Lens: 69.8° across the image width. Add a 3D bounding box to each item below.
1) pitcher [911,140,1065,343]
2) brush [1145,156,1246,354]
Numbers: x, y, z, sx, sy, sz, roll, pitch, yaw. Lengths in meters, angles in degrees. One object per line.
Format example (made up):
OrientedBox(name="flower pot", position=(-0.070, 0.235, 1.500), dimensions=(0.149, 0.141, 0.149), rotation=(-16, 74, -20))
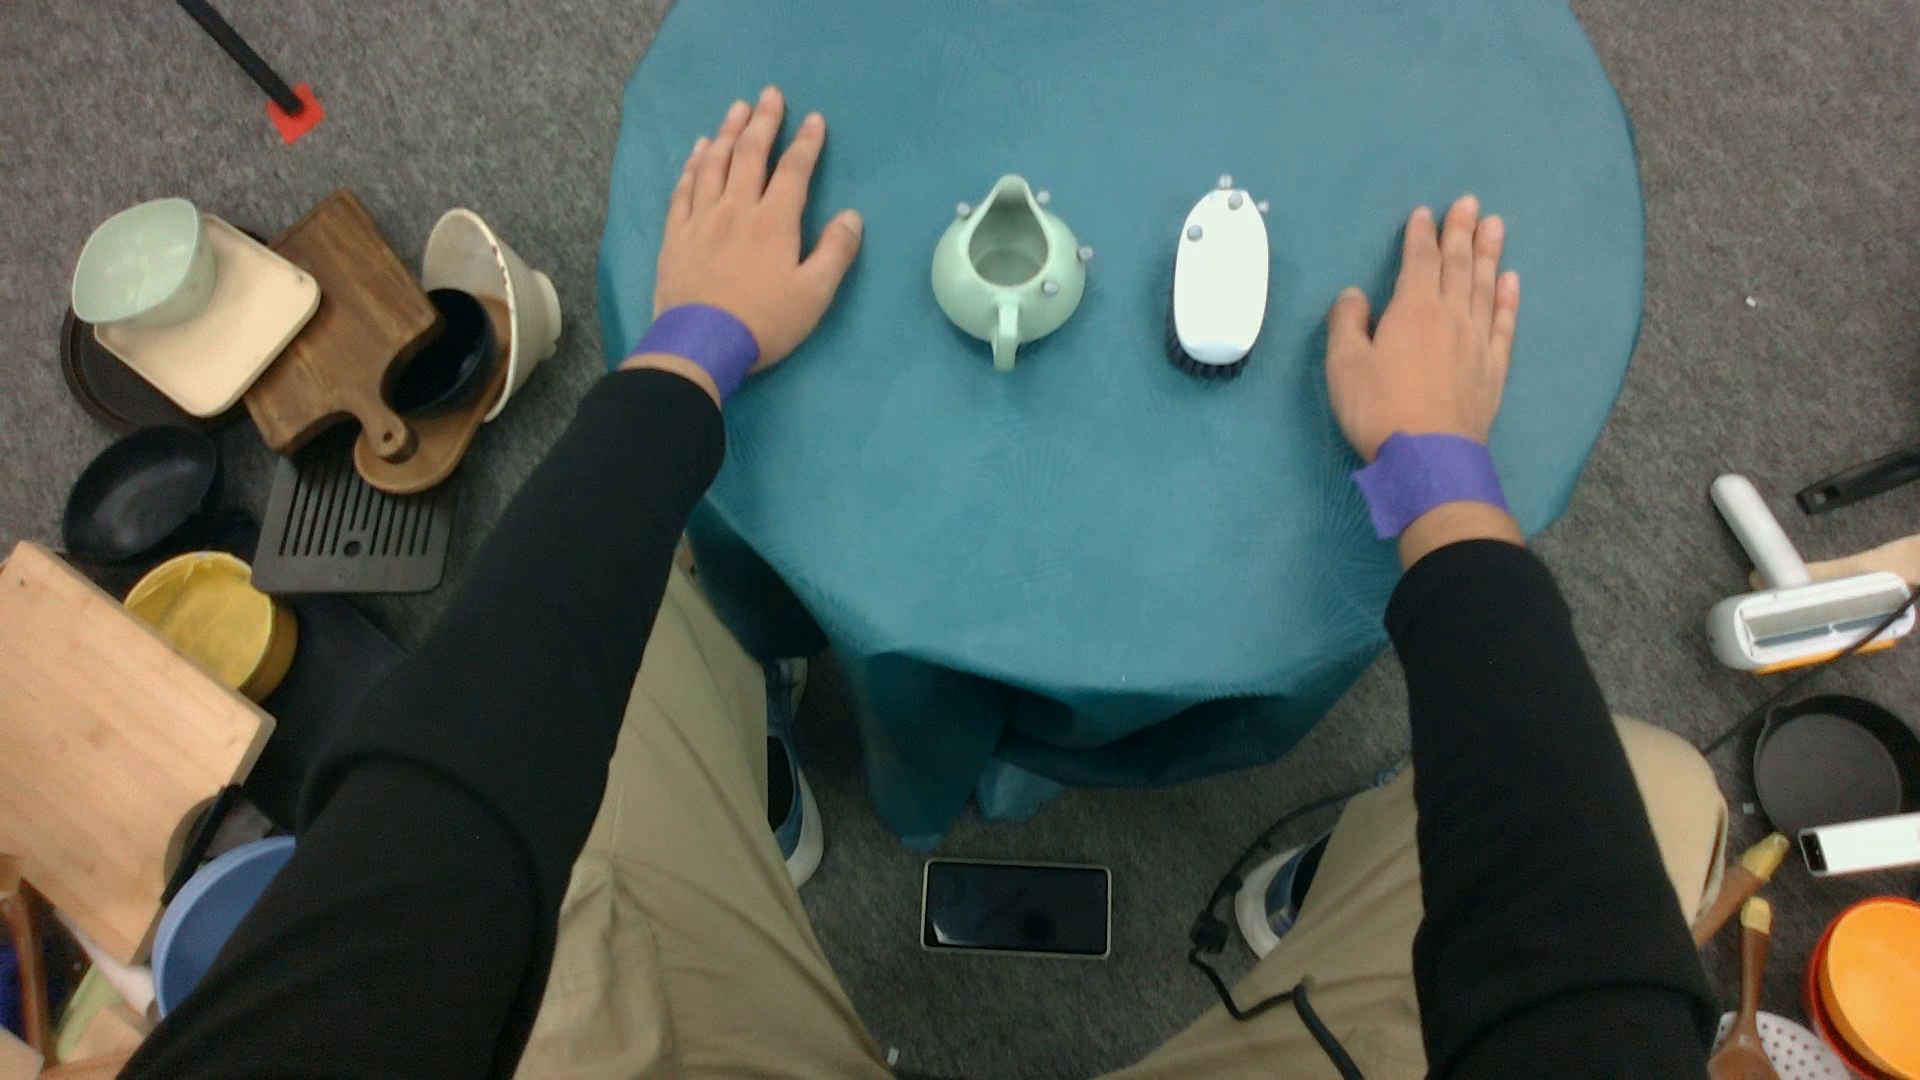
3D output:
OrientedBox(name="pitcher", position=(0.015, -0.158, 0.754), dimensions=(0.086, 0.060, 0.108), rotation=(-1, 78, 1))
OrientedBox(name="brush", position=(0.130, -0.160, 0.744), dimensions=(0.050, 0.072, 0.099), rotation=(8, 74, 3))
